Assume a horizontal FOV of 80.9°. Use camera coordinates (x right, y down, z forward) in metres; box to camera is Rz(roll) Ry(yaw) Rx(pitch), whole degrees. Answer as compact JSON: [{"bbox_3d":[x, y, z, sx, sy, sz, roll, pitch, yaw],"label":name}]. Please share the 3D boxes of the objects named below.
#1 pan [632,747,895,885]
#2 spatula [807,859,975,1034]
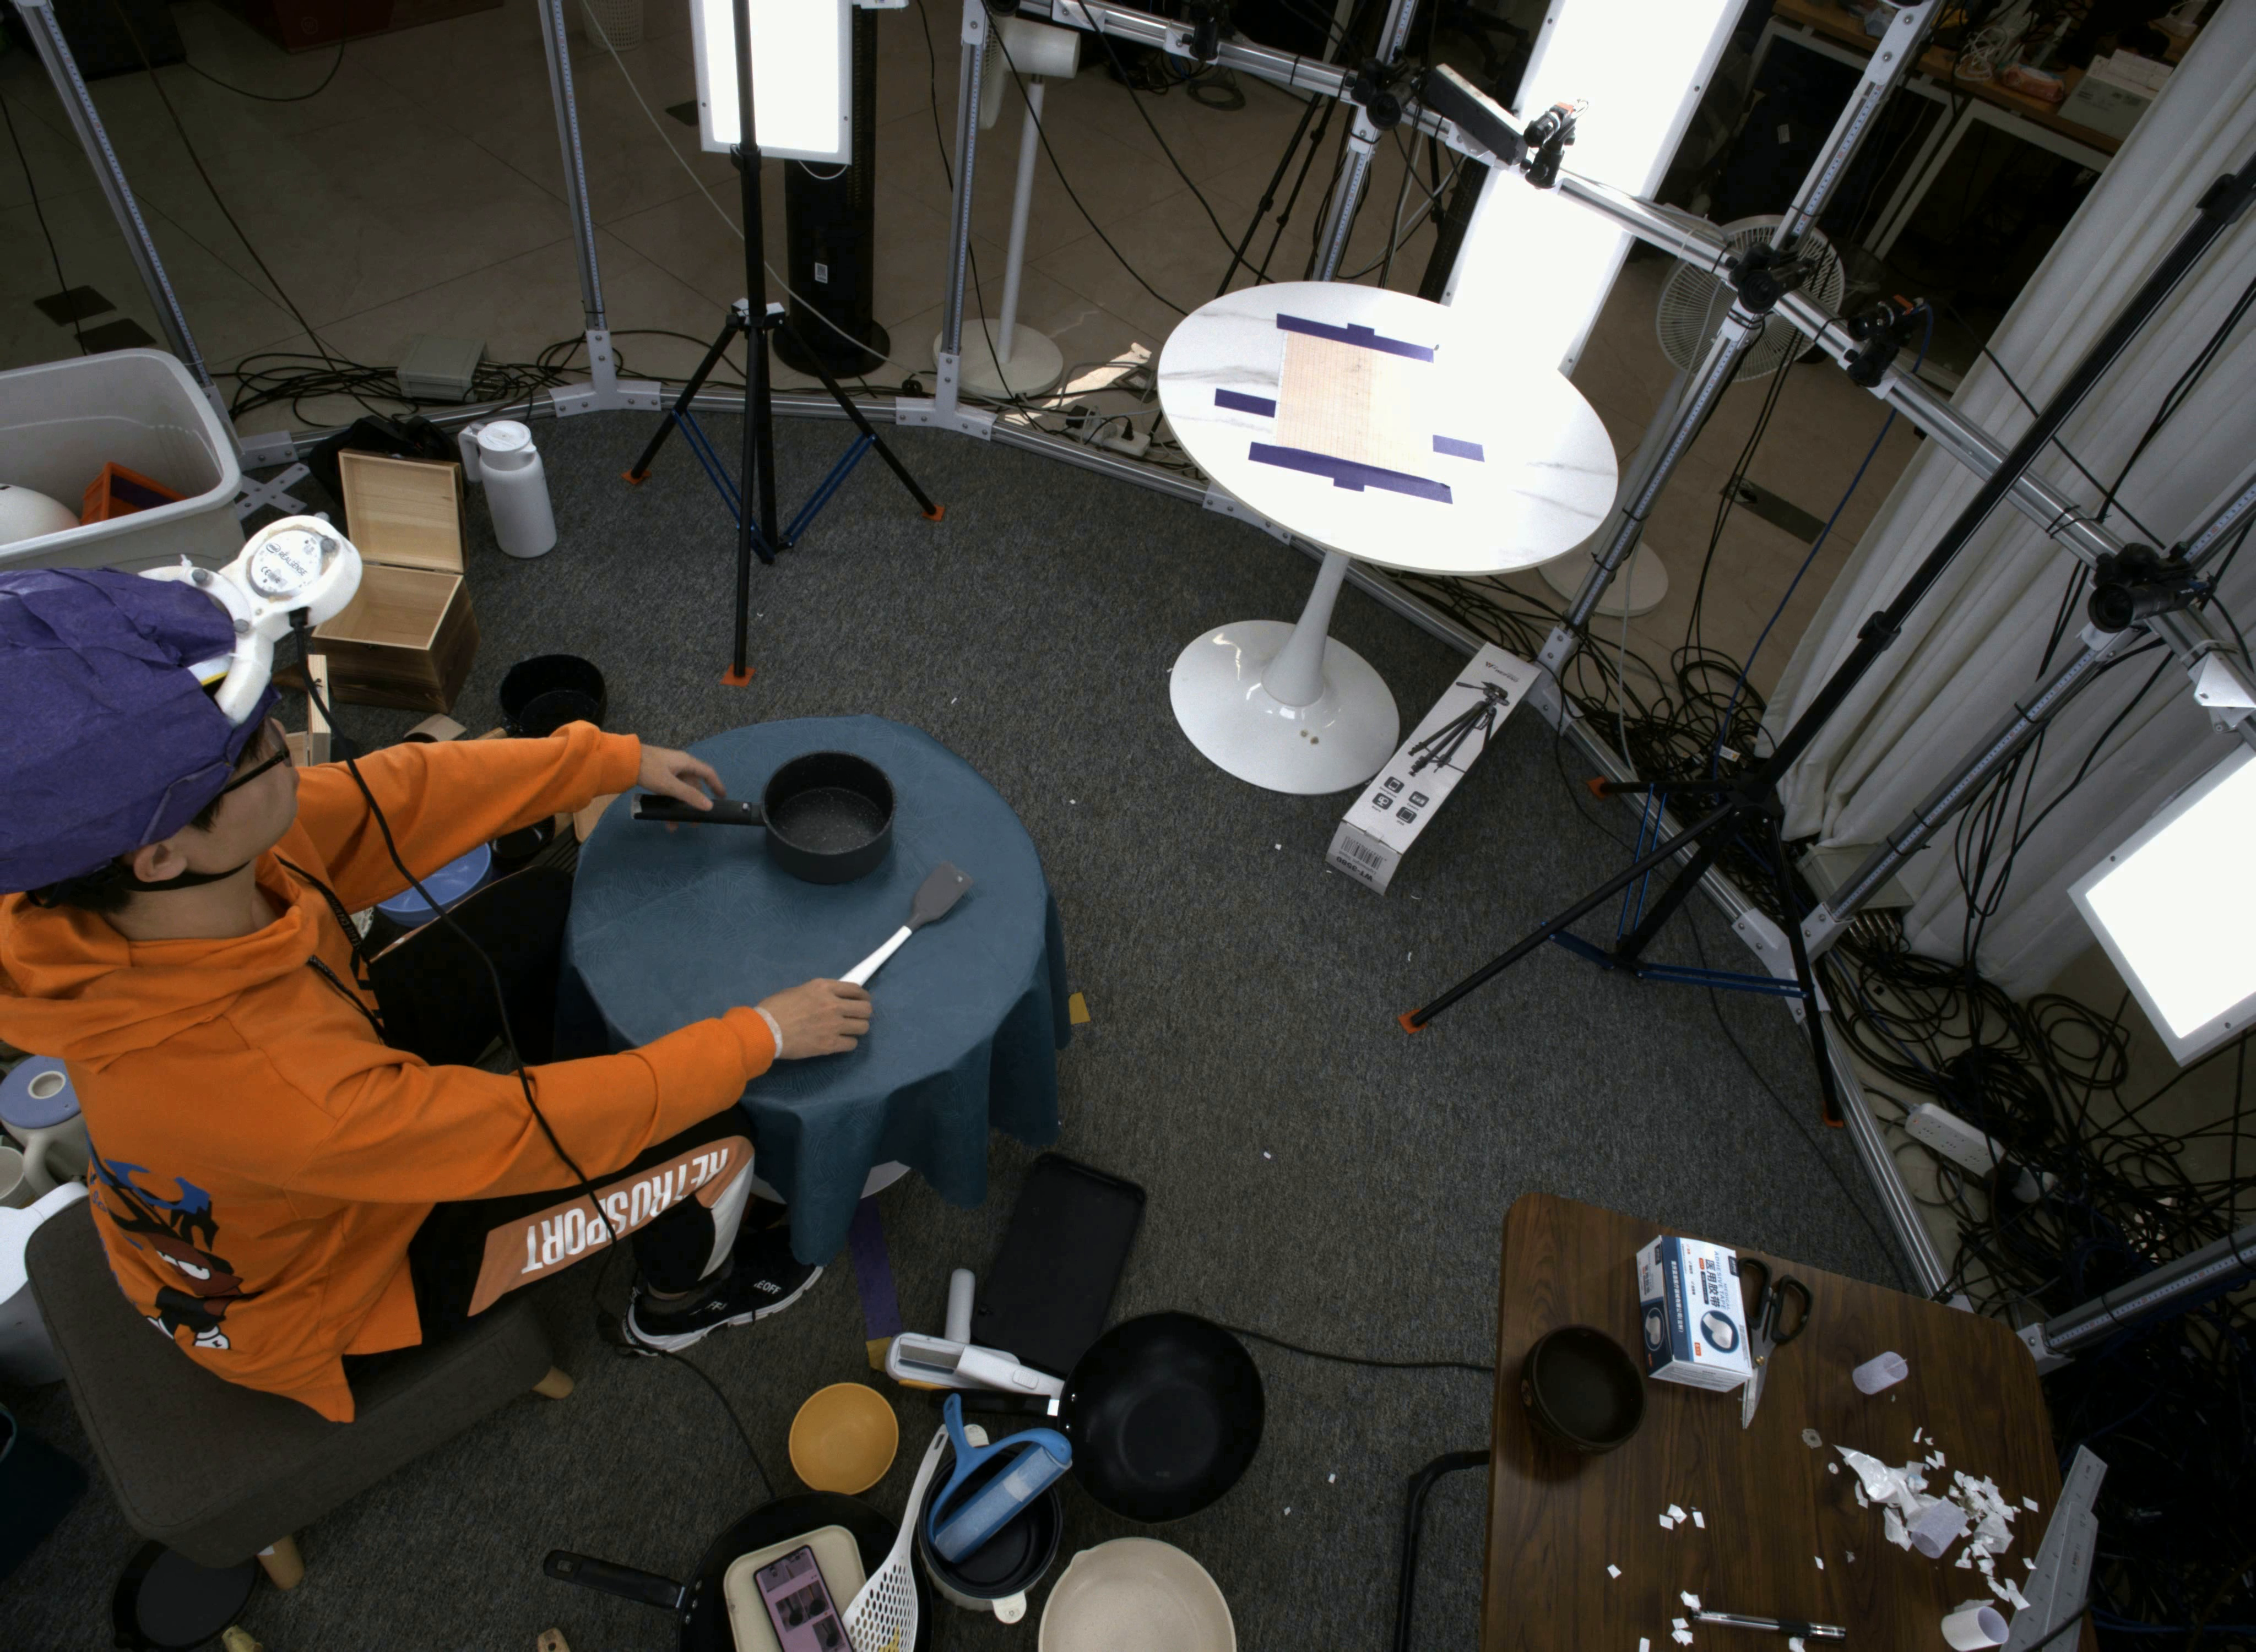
[{"bbox_3d":[-0.466,-0.013,1.658,0.330,0.088,0.168,1,52,-16],"label":"pan"},{"bbox_3d":[-0.295,0.145,1.620,0.057,0.033,0.287,30,52,14],"label":"spatula"}]
